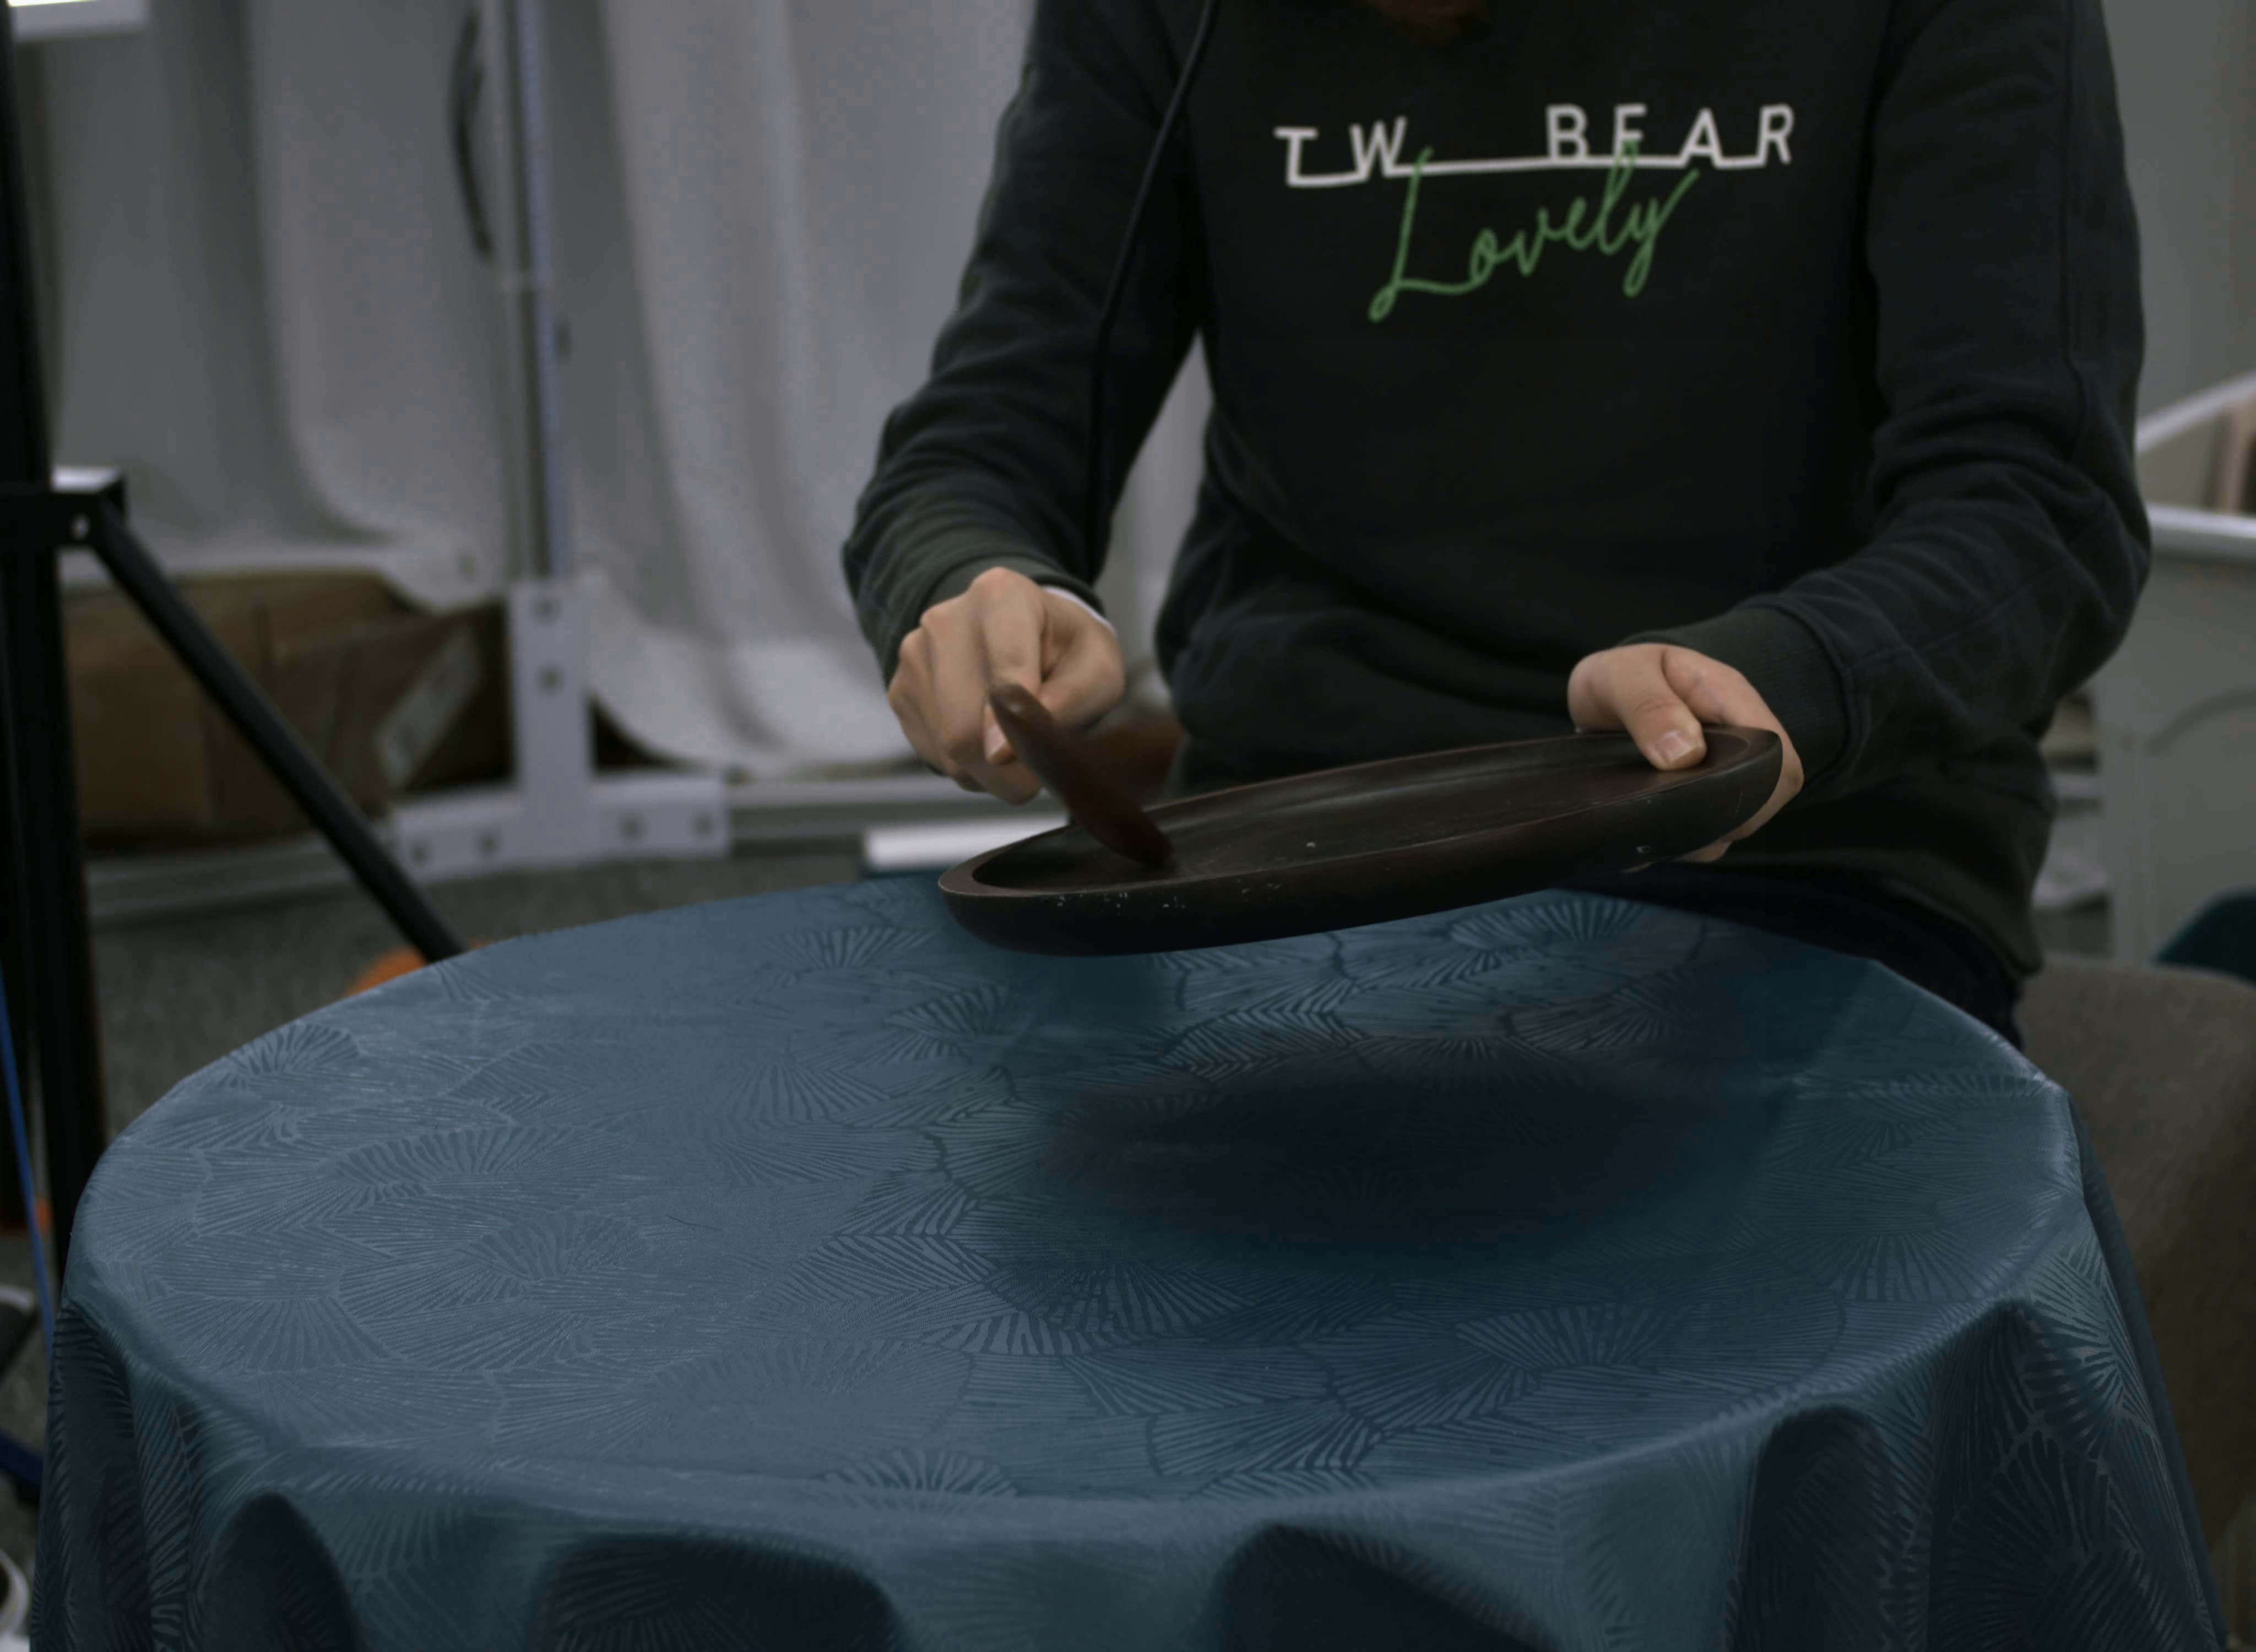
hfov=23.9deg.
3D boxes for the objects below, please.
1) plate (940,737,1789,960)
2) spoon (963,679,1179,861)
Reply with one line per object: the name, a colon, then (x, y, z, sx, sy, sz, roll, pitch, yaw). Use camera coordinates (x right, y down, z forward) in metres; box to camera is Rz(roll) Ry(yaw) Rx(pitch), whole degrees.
plate: (0.070, 0.005, 1.564, 0.253, 0.029, 0.255, -10, 7, 0)
spoon: (-0.027, -0.023, 1.658, 0.017, 0.075, 0.218, -46, 12, -1)
